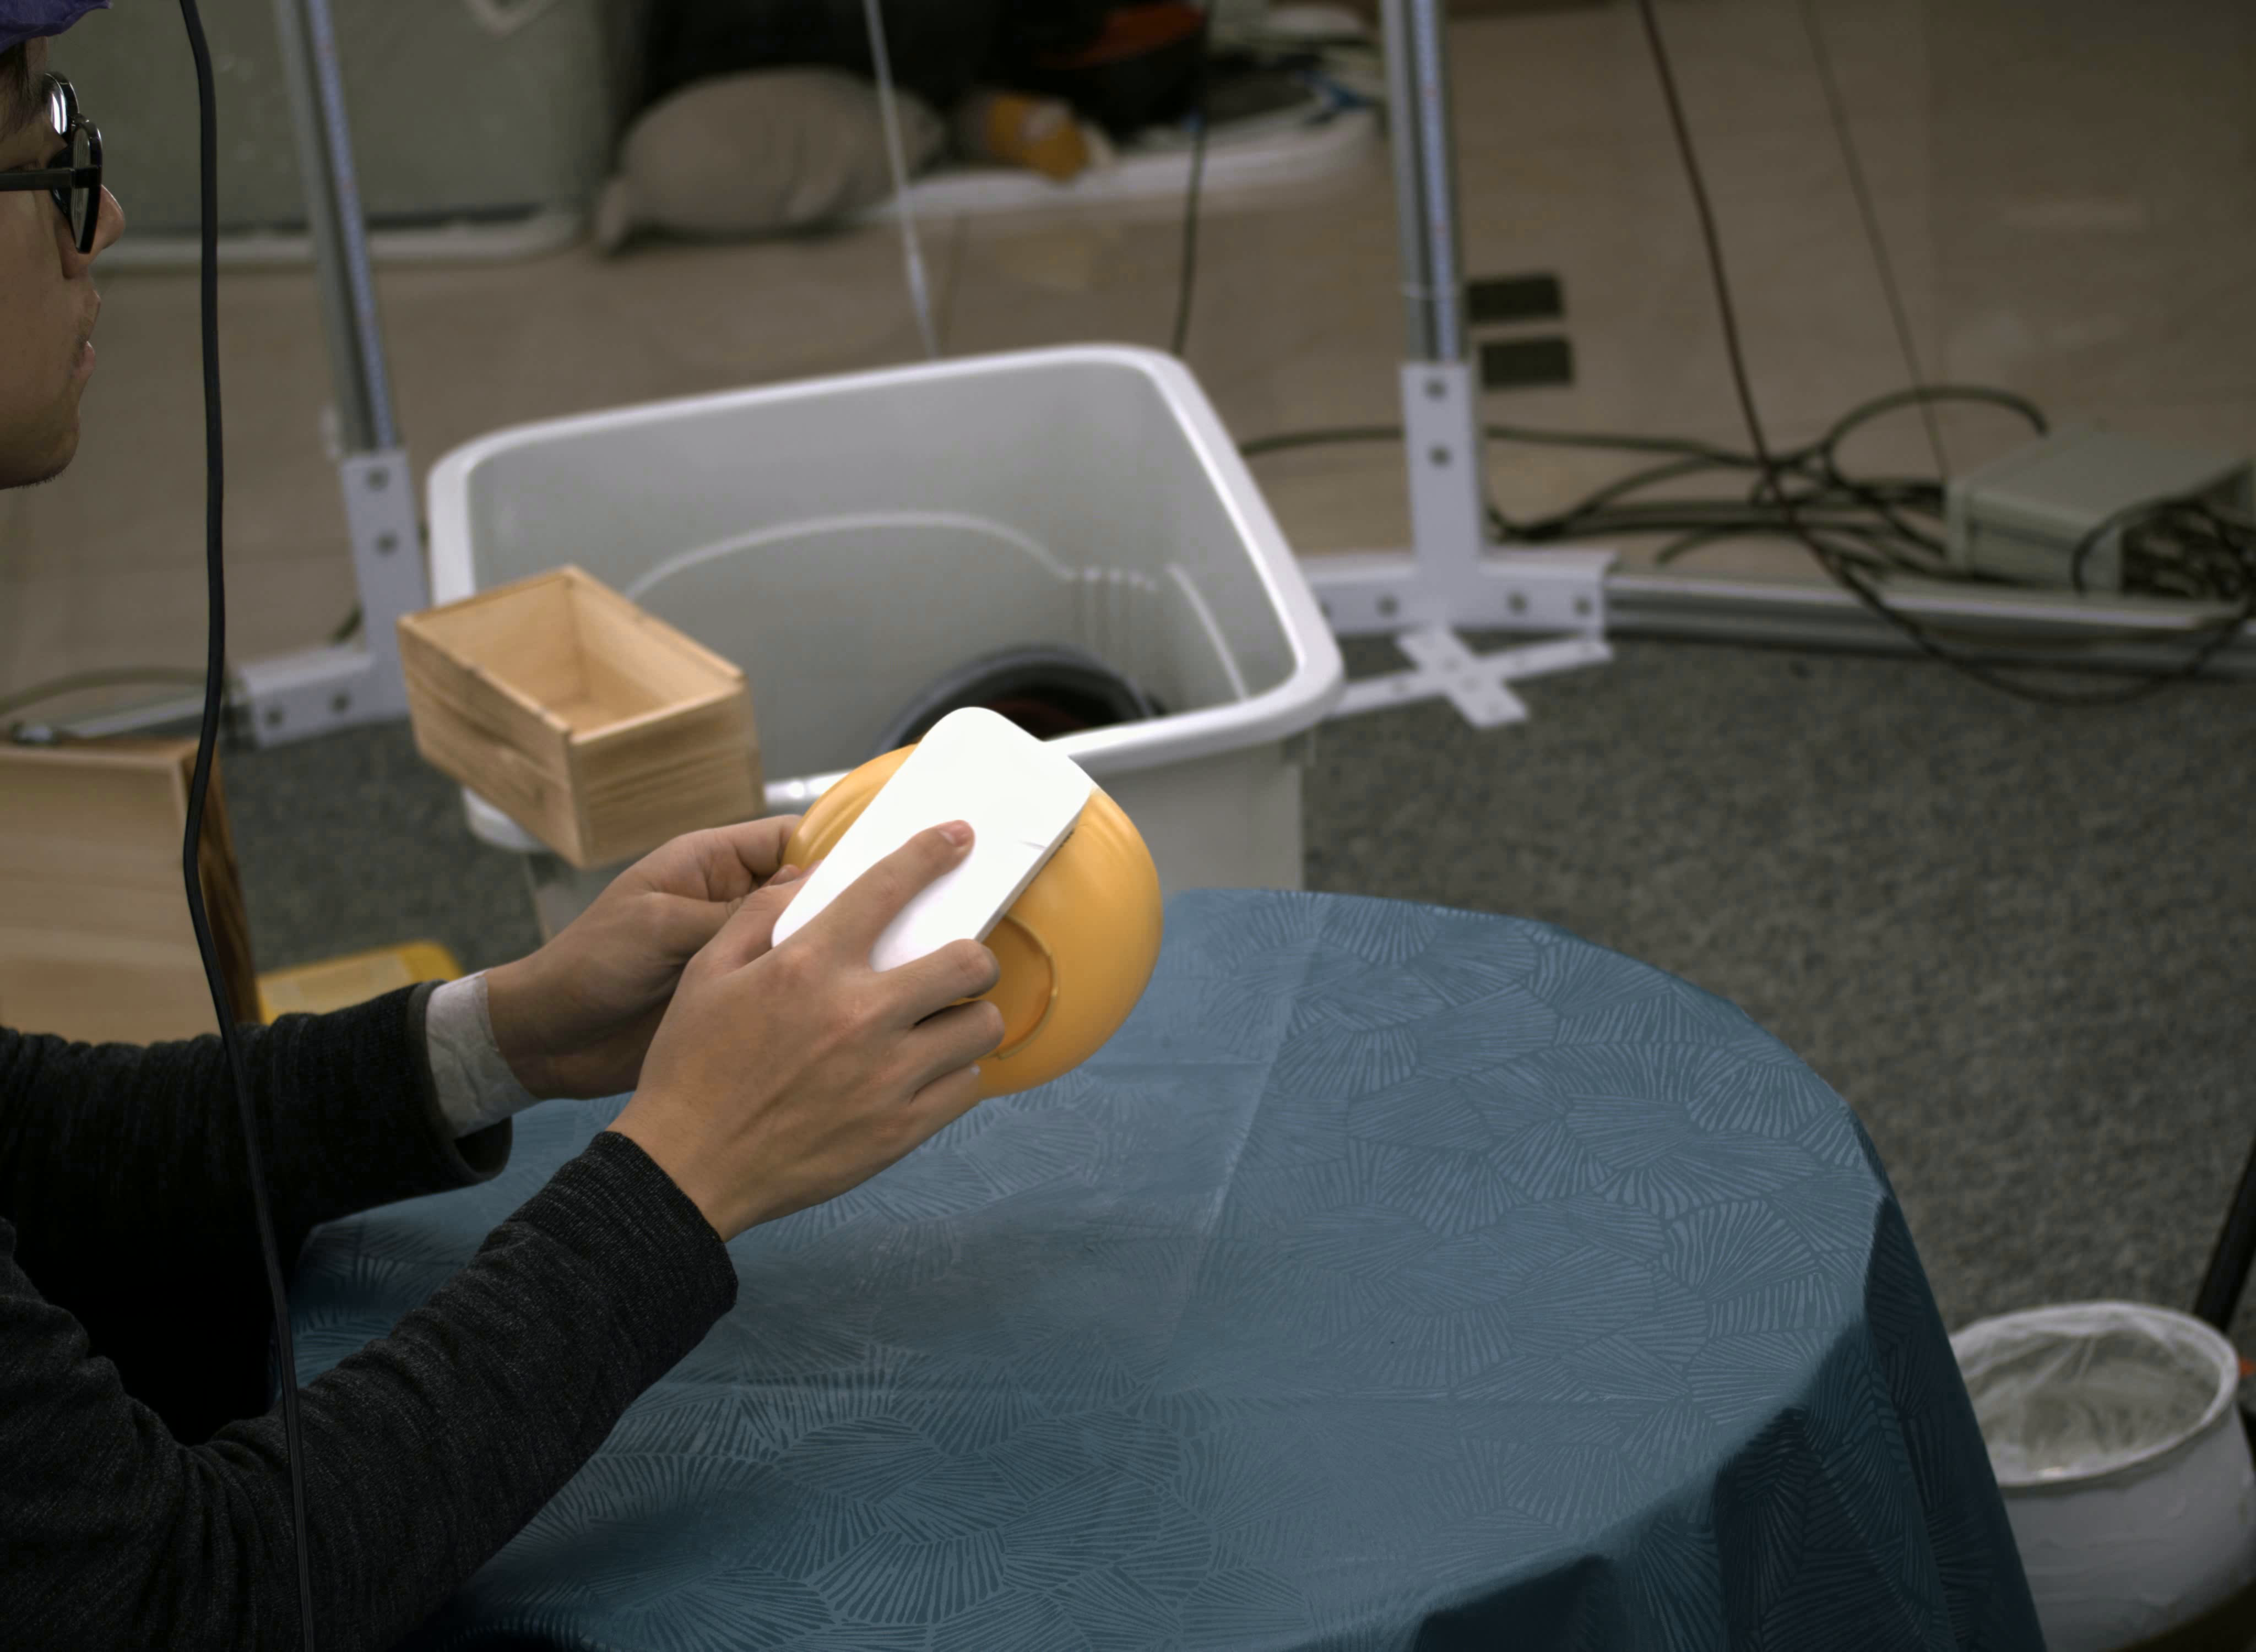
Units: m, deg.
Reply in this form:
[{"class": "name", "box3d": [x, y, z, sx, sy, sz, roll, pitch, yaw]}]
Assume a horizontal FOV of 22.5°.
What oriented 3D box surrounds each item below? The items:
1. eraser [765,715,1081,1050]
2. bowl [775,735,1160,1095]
[{"class": "eraser", "box3d": [-0.074, 0.018, 2.013, 0.063, 0.035, 0.130, 33, 63, 12]}, {"class": "bowl", "box3d": [-0.060, 0.043, 2.077, 0.145, 0.148, 0.059, -5, 27, 2]}]
